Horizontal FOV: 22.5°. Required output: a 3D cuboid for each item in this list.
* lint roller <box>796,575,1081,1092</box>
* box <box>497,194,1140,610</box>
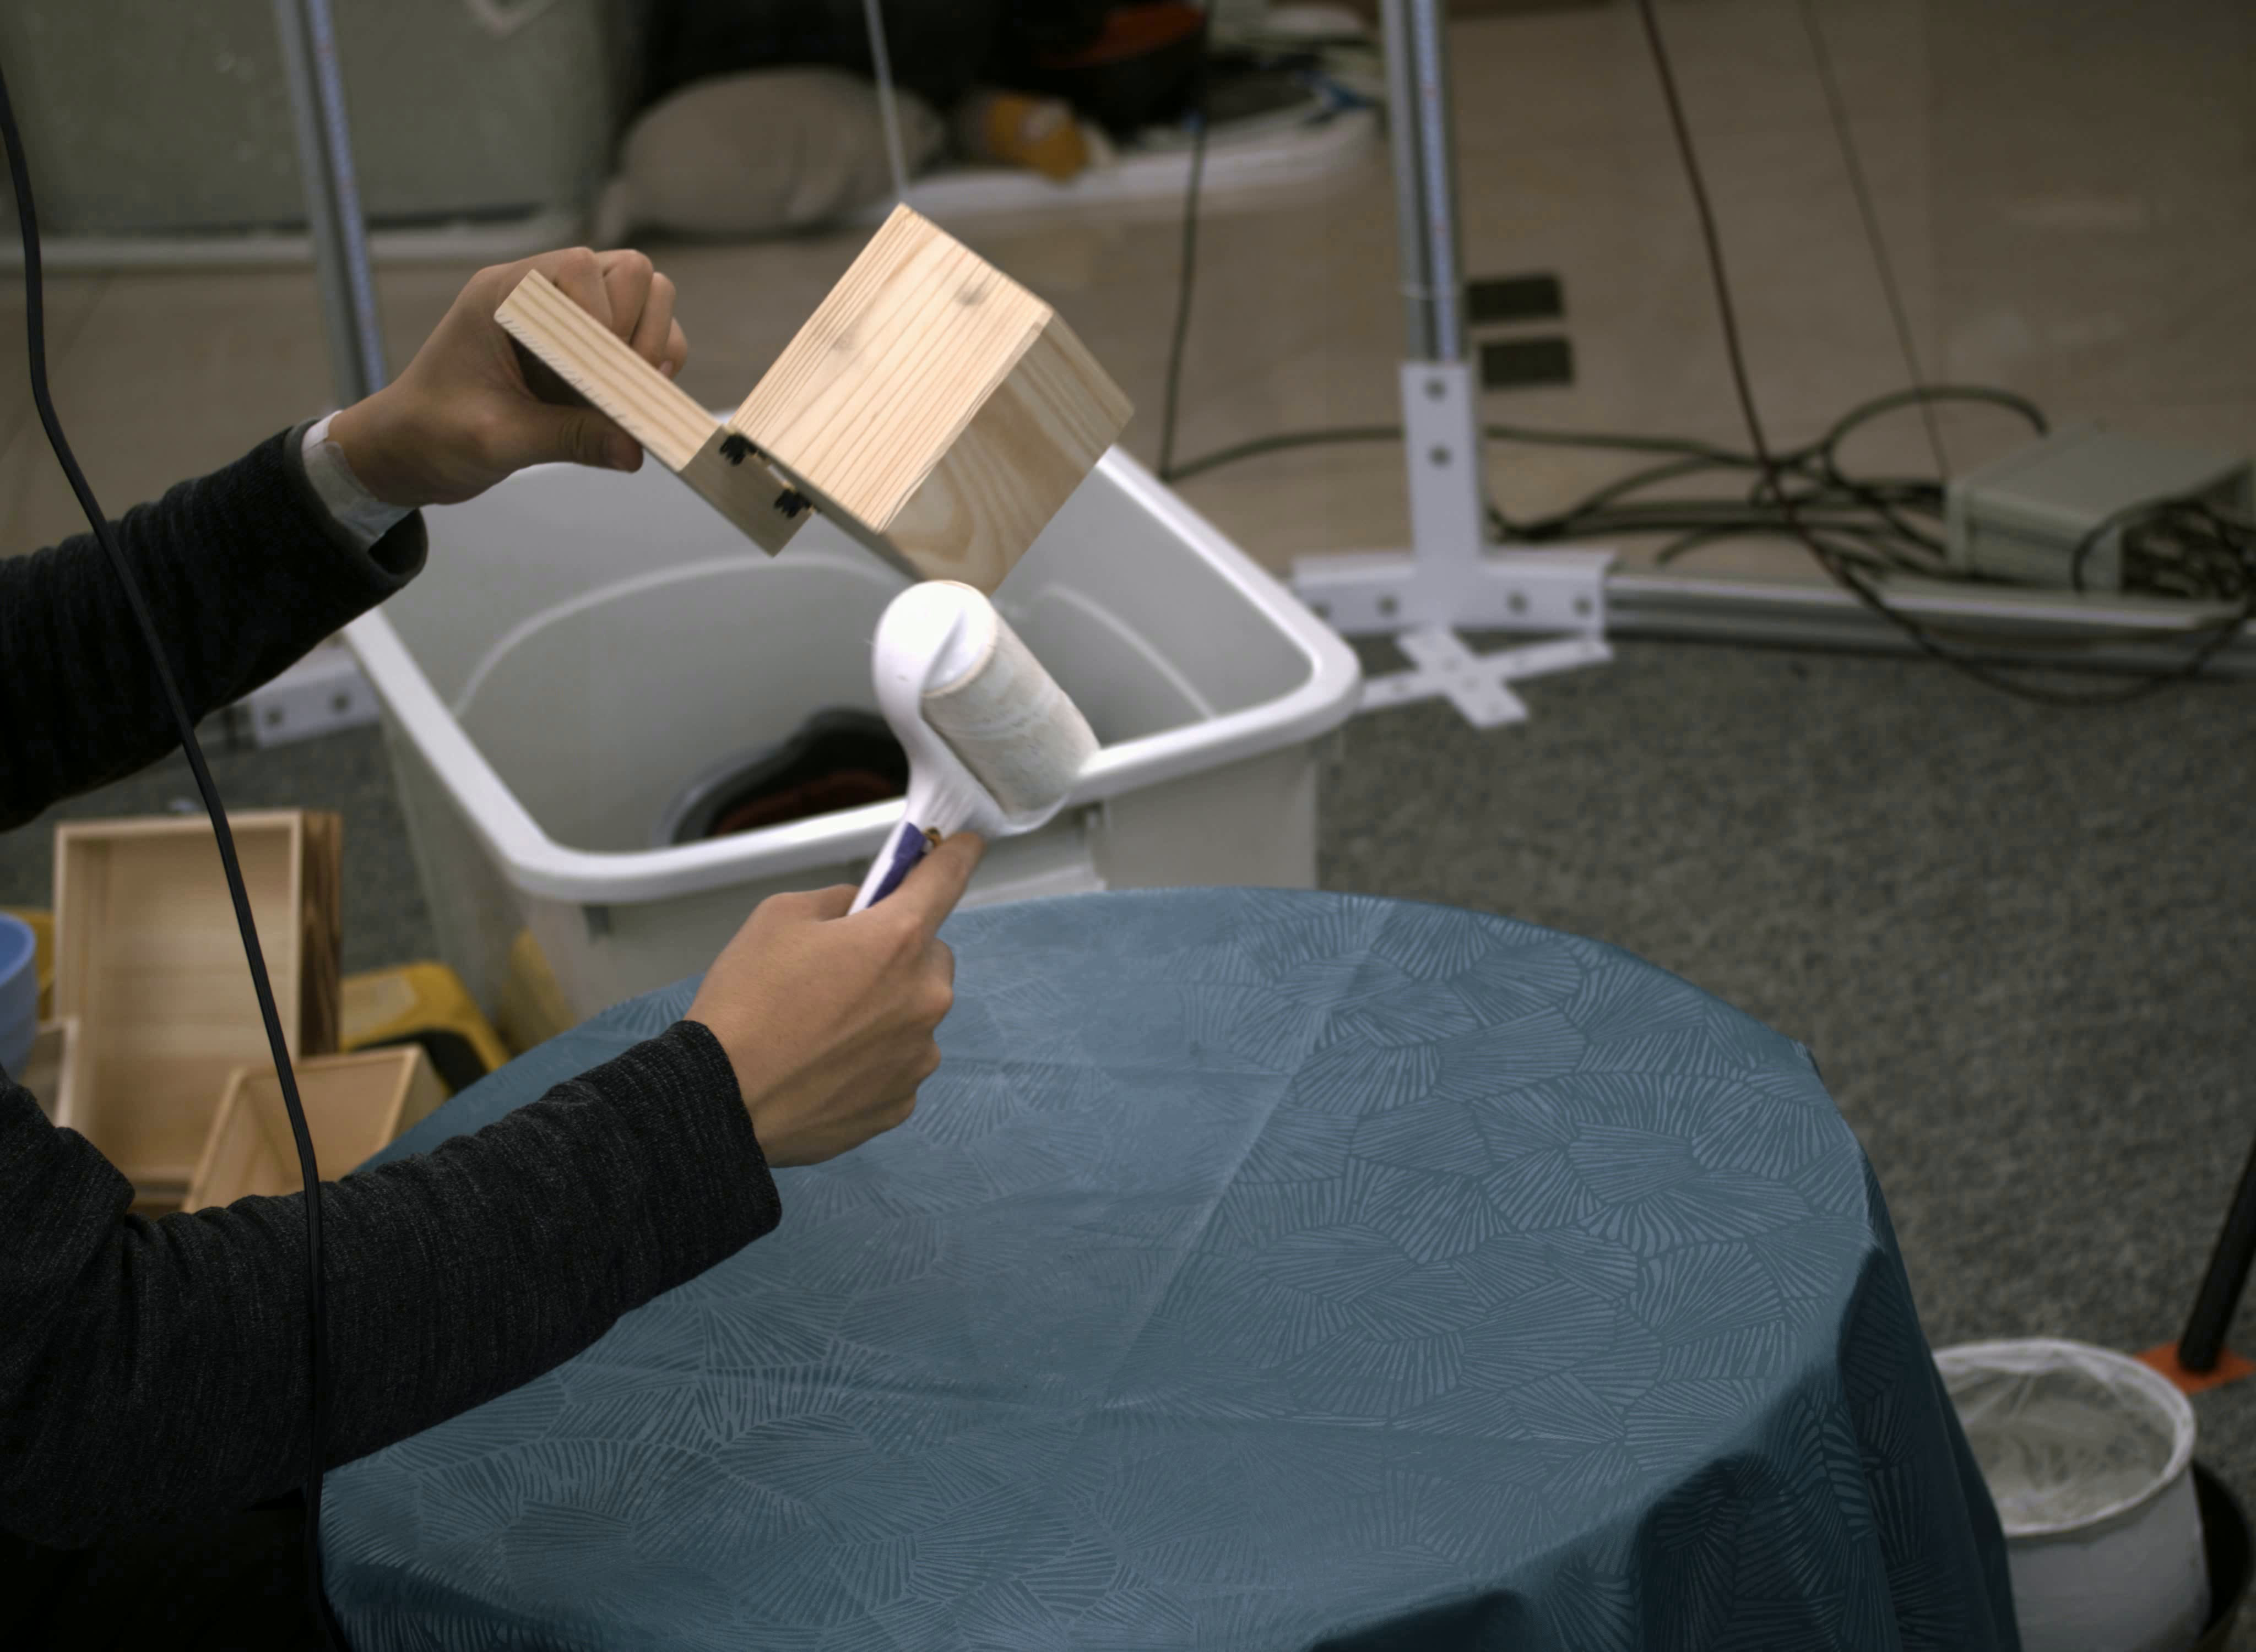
[{"bbox_3d":[-0.073,0.011,2.009,0.050,0.135,0.179,7,69,24],"label":"lint roller"},{"bbox_3d":[-0.113,-0.174,2.068,0.183,0.103,0.134,36,88,23],"label":"box"}]
